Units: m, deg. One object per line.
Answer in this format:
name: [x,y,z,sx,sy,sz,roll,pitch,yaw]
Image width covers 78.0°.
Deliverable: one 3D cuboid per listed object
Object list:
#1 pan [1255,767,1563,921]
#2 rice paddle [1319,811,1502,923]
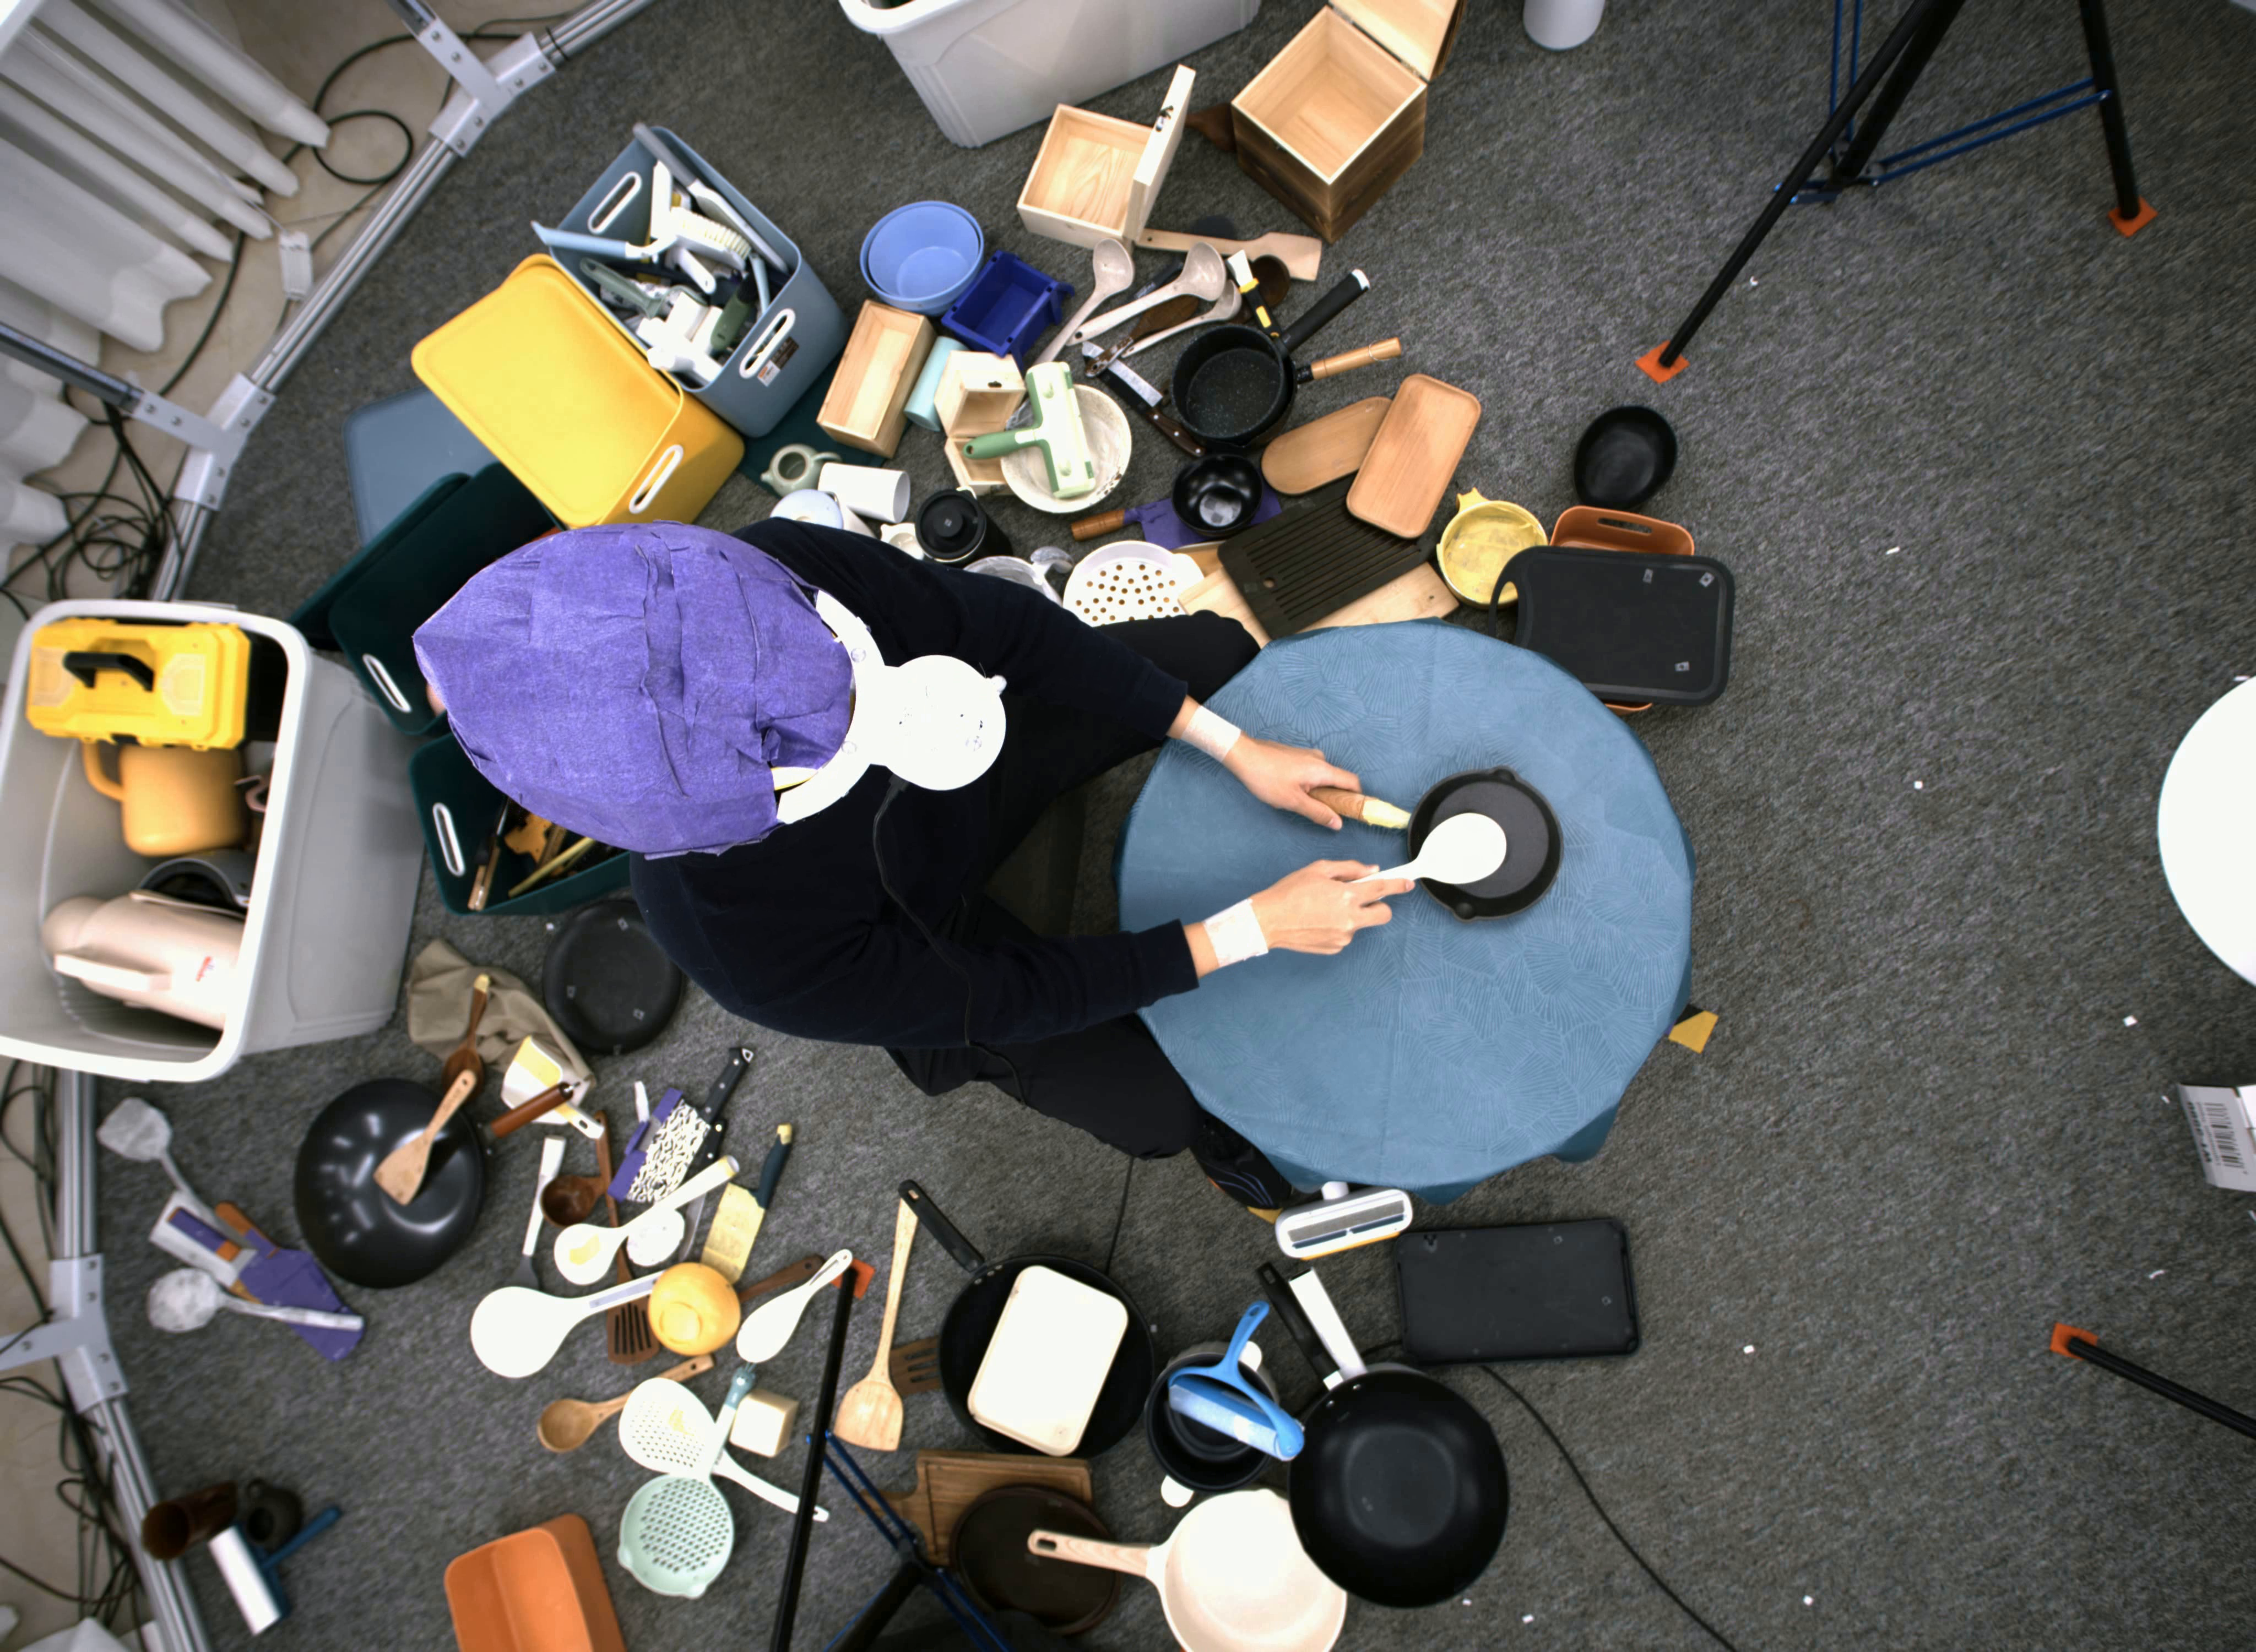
pan: [0.287,-0.010,1.425,0.324,0.049,0.172,19,111,16]
rice paddle: [0.289,0.041,1.392,0.204,0.030,0.068,-23,83,-9]
